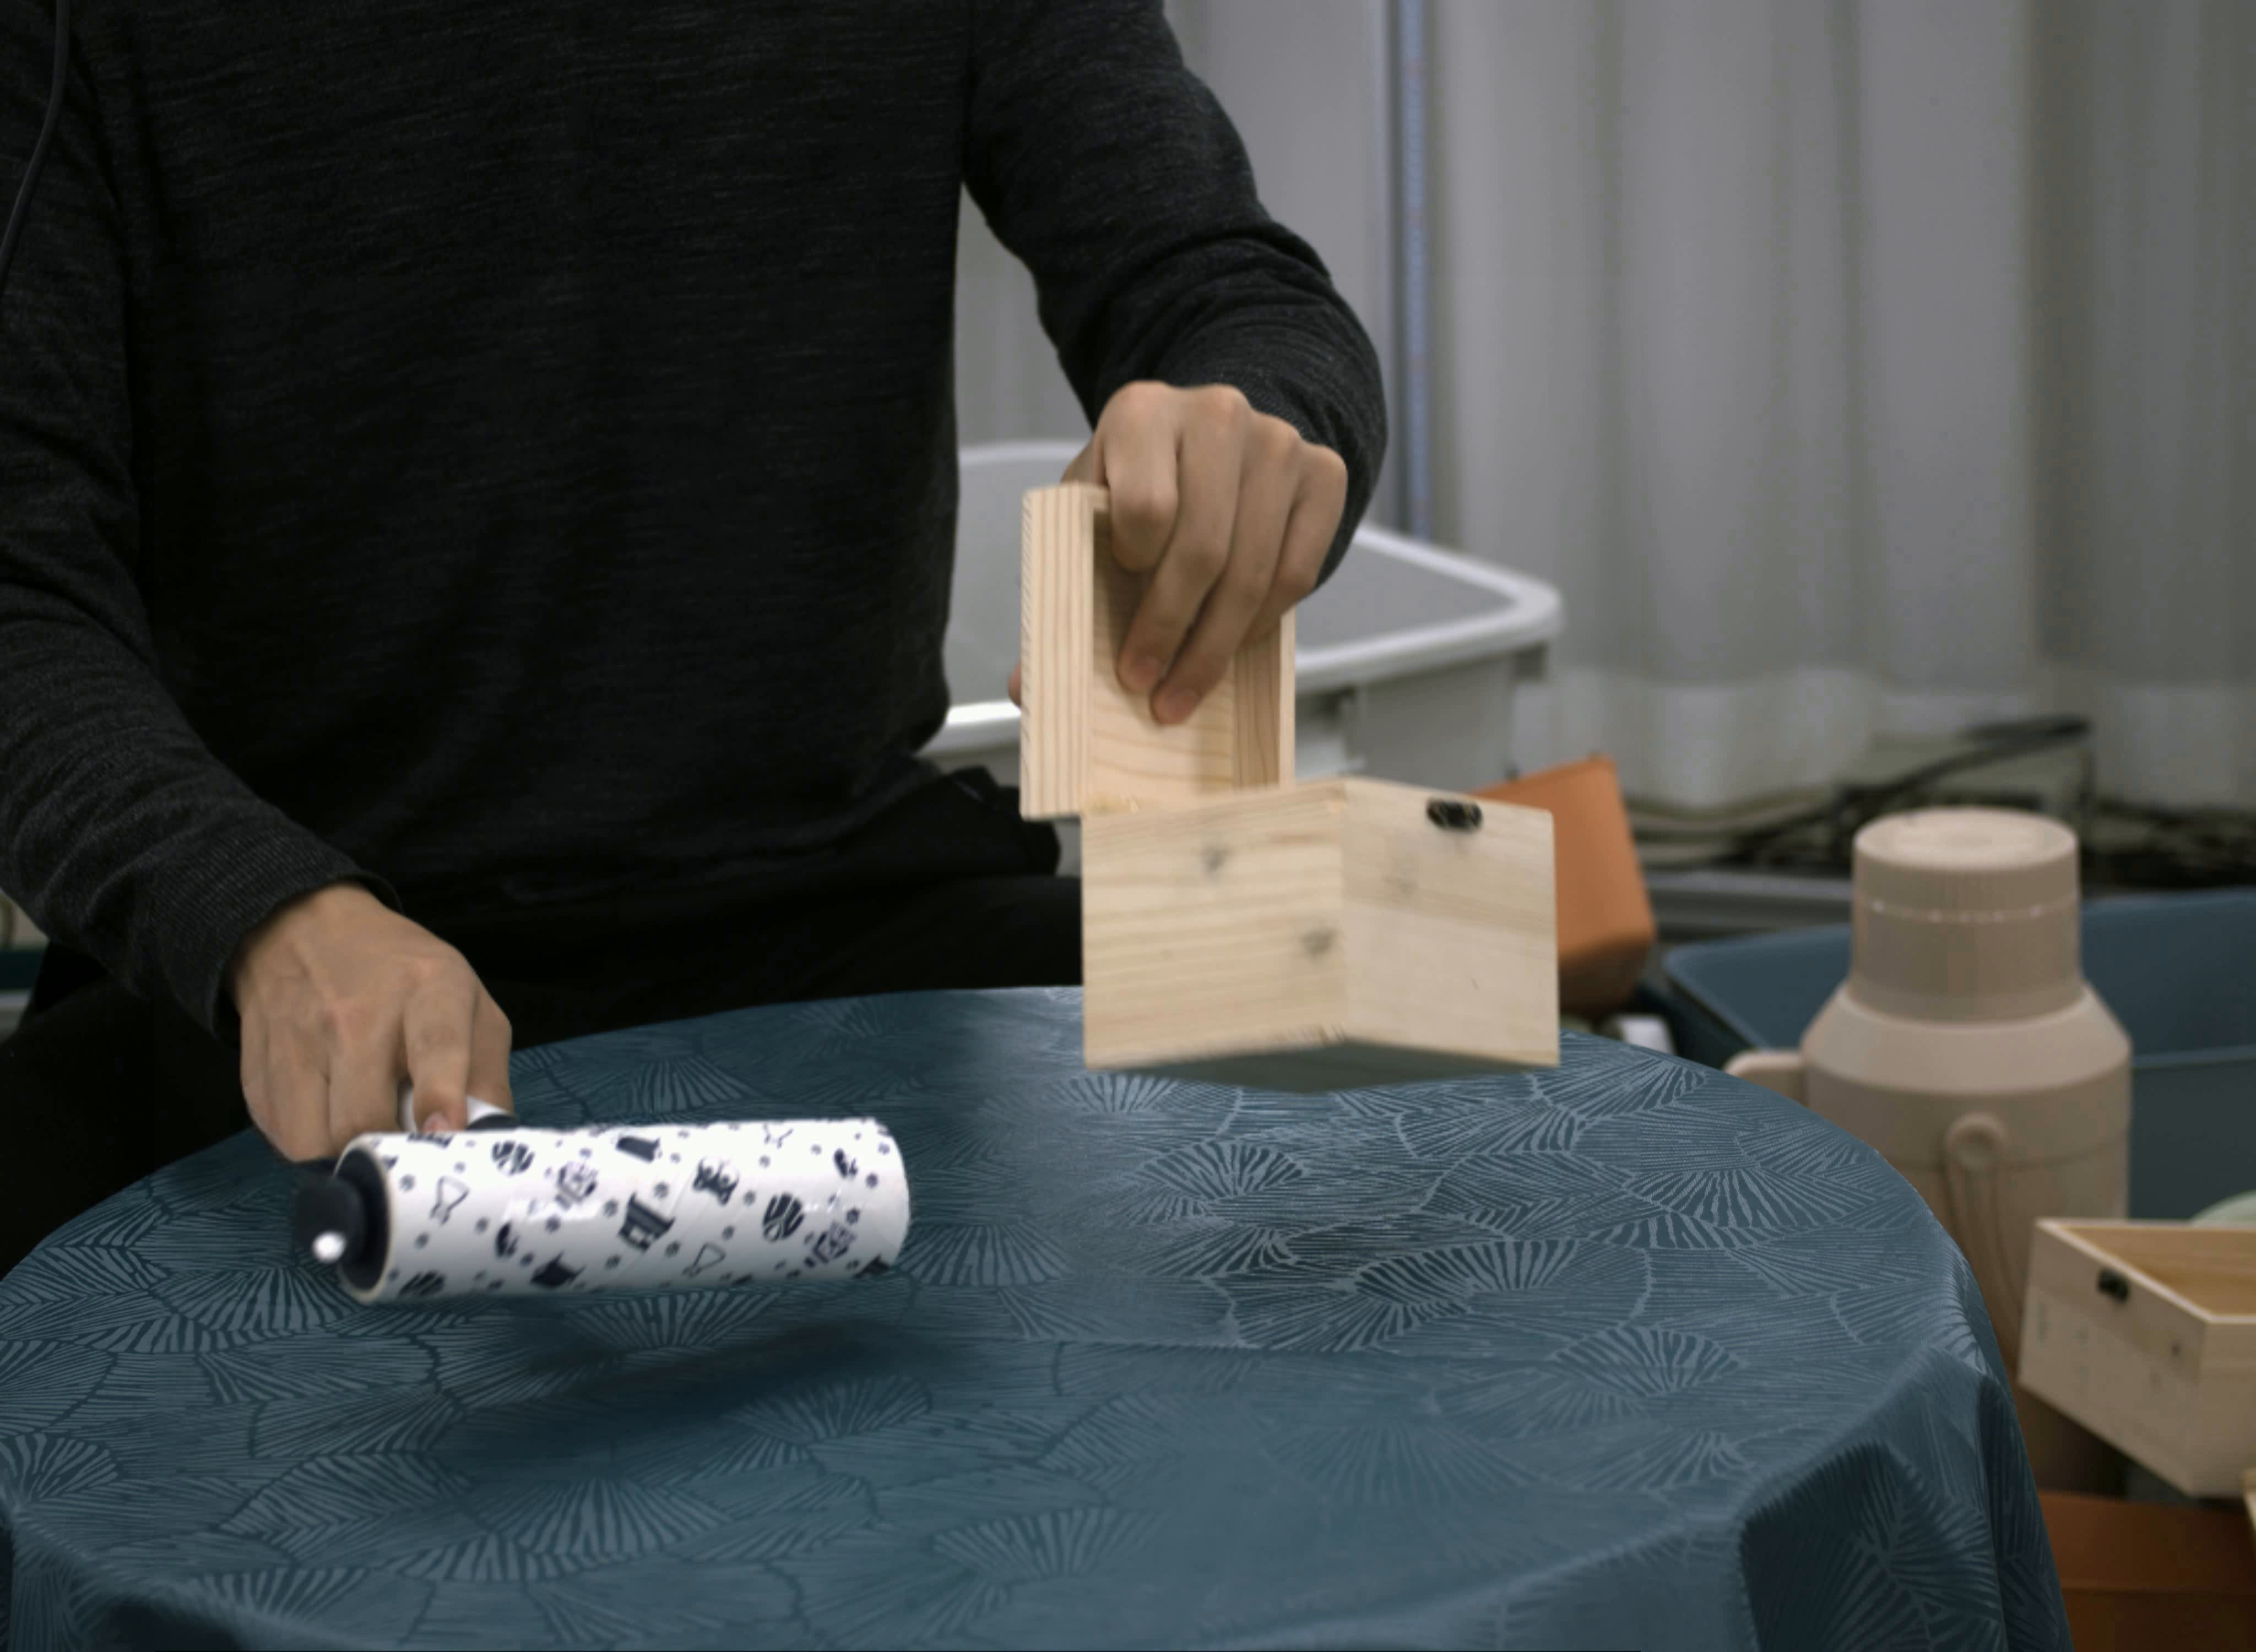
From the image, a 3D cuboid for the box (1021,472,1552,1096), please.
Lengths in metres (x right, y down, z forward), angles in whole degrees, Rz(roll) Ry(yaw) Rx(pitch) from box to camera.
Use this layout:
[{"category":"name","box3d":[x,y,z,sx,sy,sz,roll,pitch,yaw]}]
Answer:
[{"category":"box","box3d":[0.049,-0.019,1.643,0.134,0.186,0.101,-11,-16,41]}]

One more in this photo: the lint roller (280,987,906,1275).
[{"category":"lint roller","box3d":[-0.184,0.080,1.657,0.175,0.050,0.249,5,11,-21]}]
